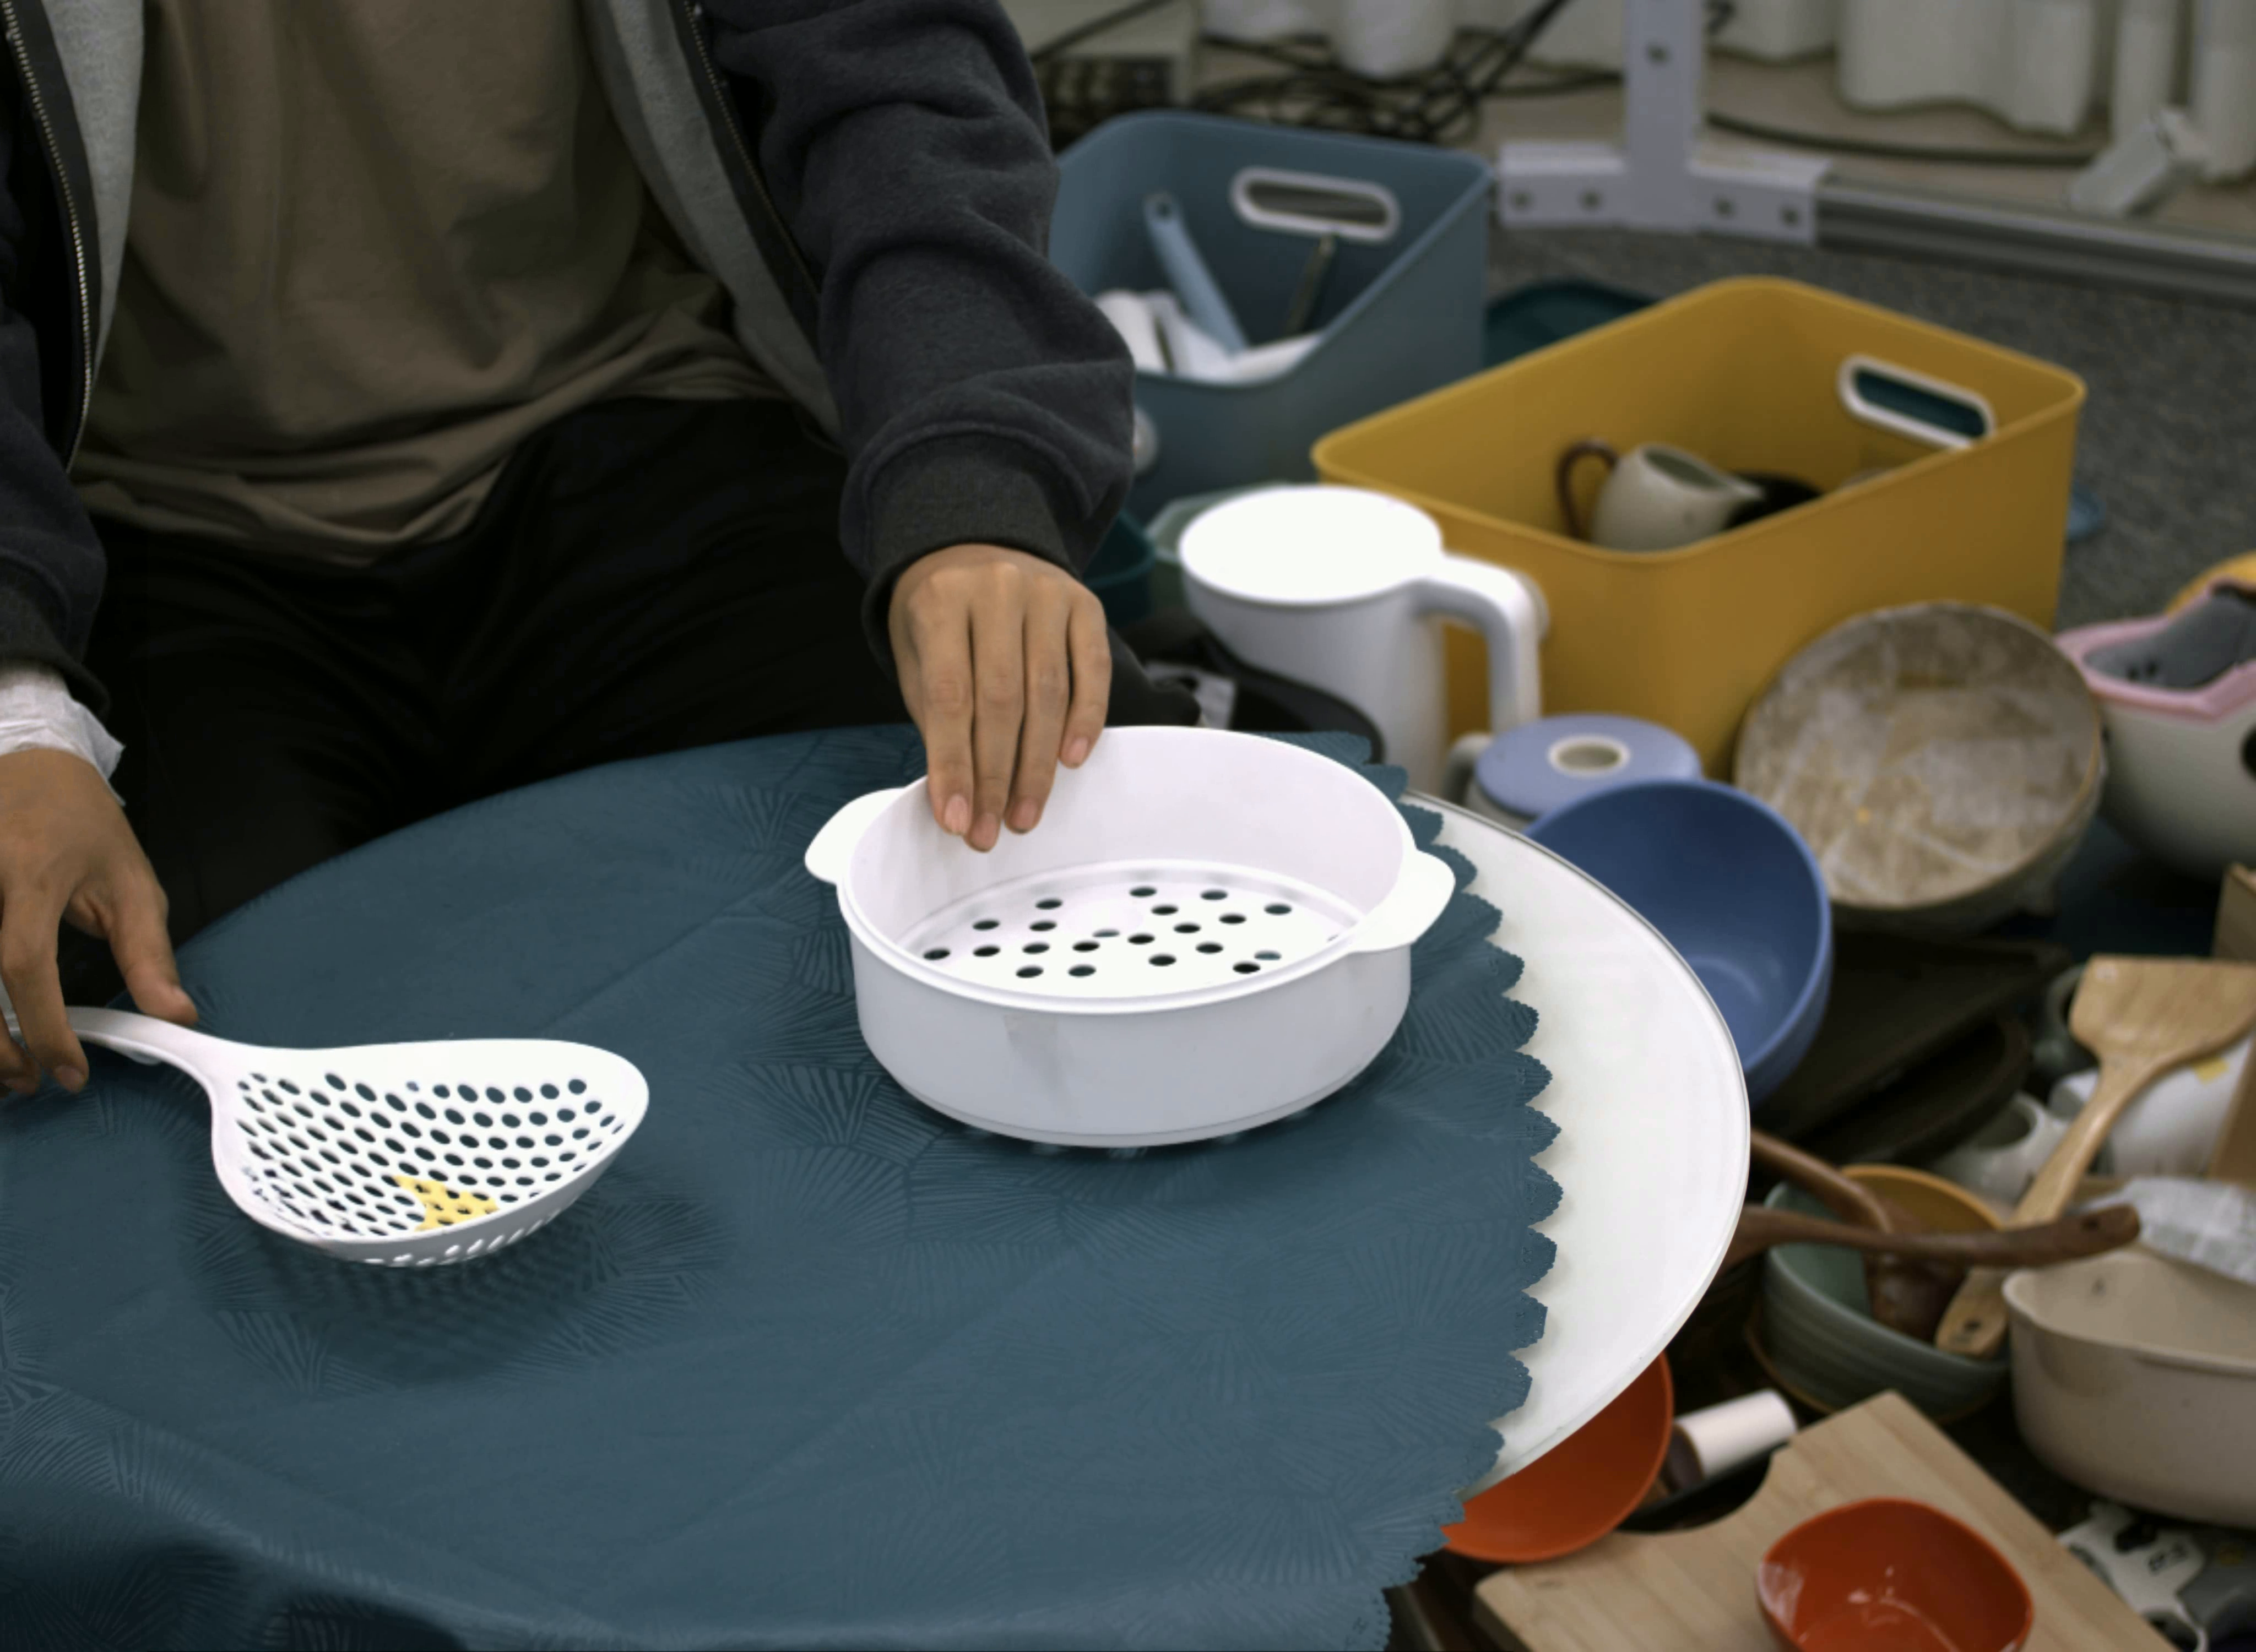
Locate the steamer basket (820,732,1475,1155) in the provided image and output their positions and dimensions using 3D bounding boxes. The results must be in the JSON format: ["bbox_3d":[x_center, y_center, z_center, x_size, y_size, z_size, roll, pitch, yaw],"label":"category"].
[{"bbox_3d":[0.006,0.040,1.947,0.229,0.068,0.205,9,29,17],"label":"steamer basket"}]

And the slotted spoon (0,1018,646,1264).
[{"bbox_3d":[-0.301,0.095,1.919,0.346,0.050,0.139,15,37,41],"label":"slotted spoon"}]
